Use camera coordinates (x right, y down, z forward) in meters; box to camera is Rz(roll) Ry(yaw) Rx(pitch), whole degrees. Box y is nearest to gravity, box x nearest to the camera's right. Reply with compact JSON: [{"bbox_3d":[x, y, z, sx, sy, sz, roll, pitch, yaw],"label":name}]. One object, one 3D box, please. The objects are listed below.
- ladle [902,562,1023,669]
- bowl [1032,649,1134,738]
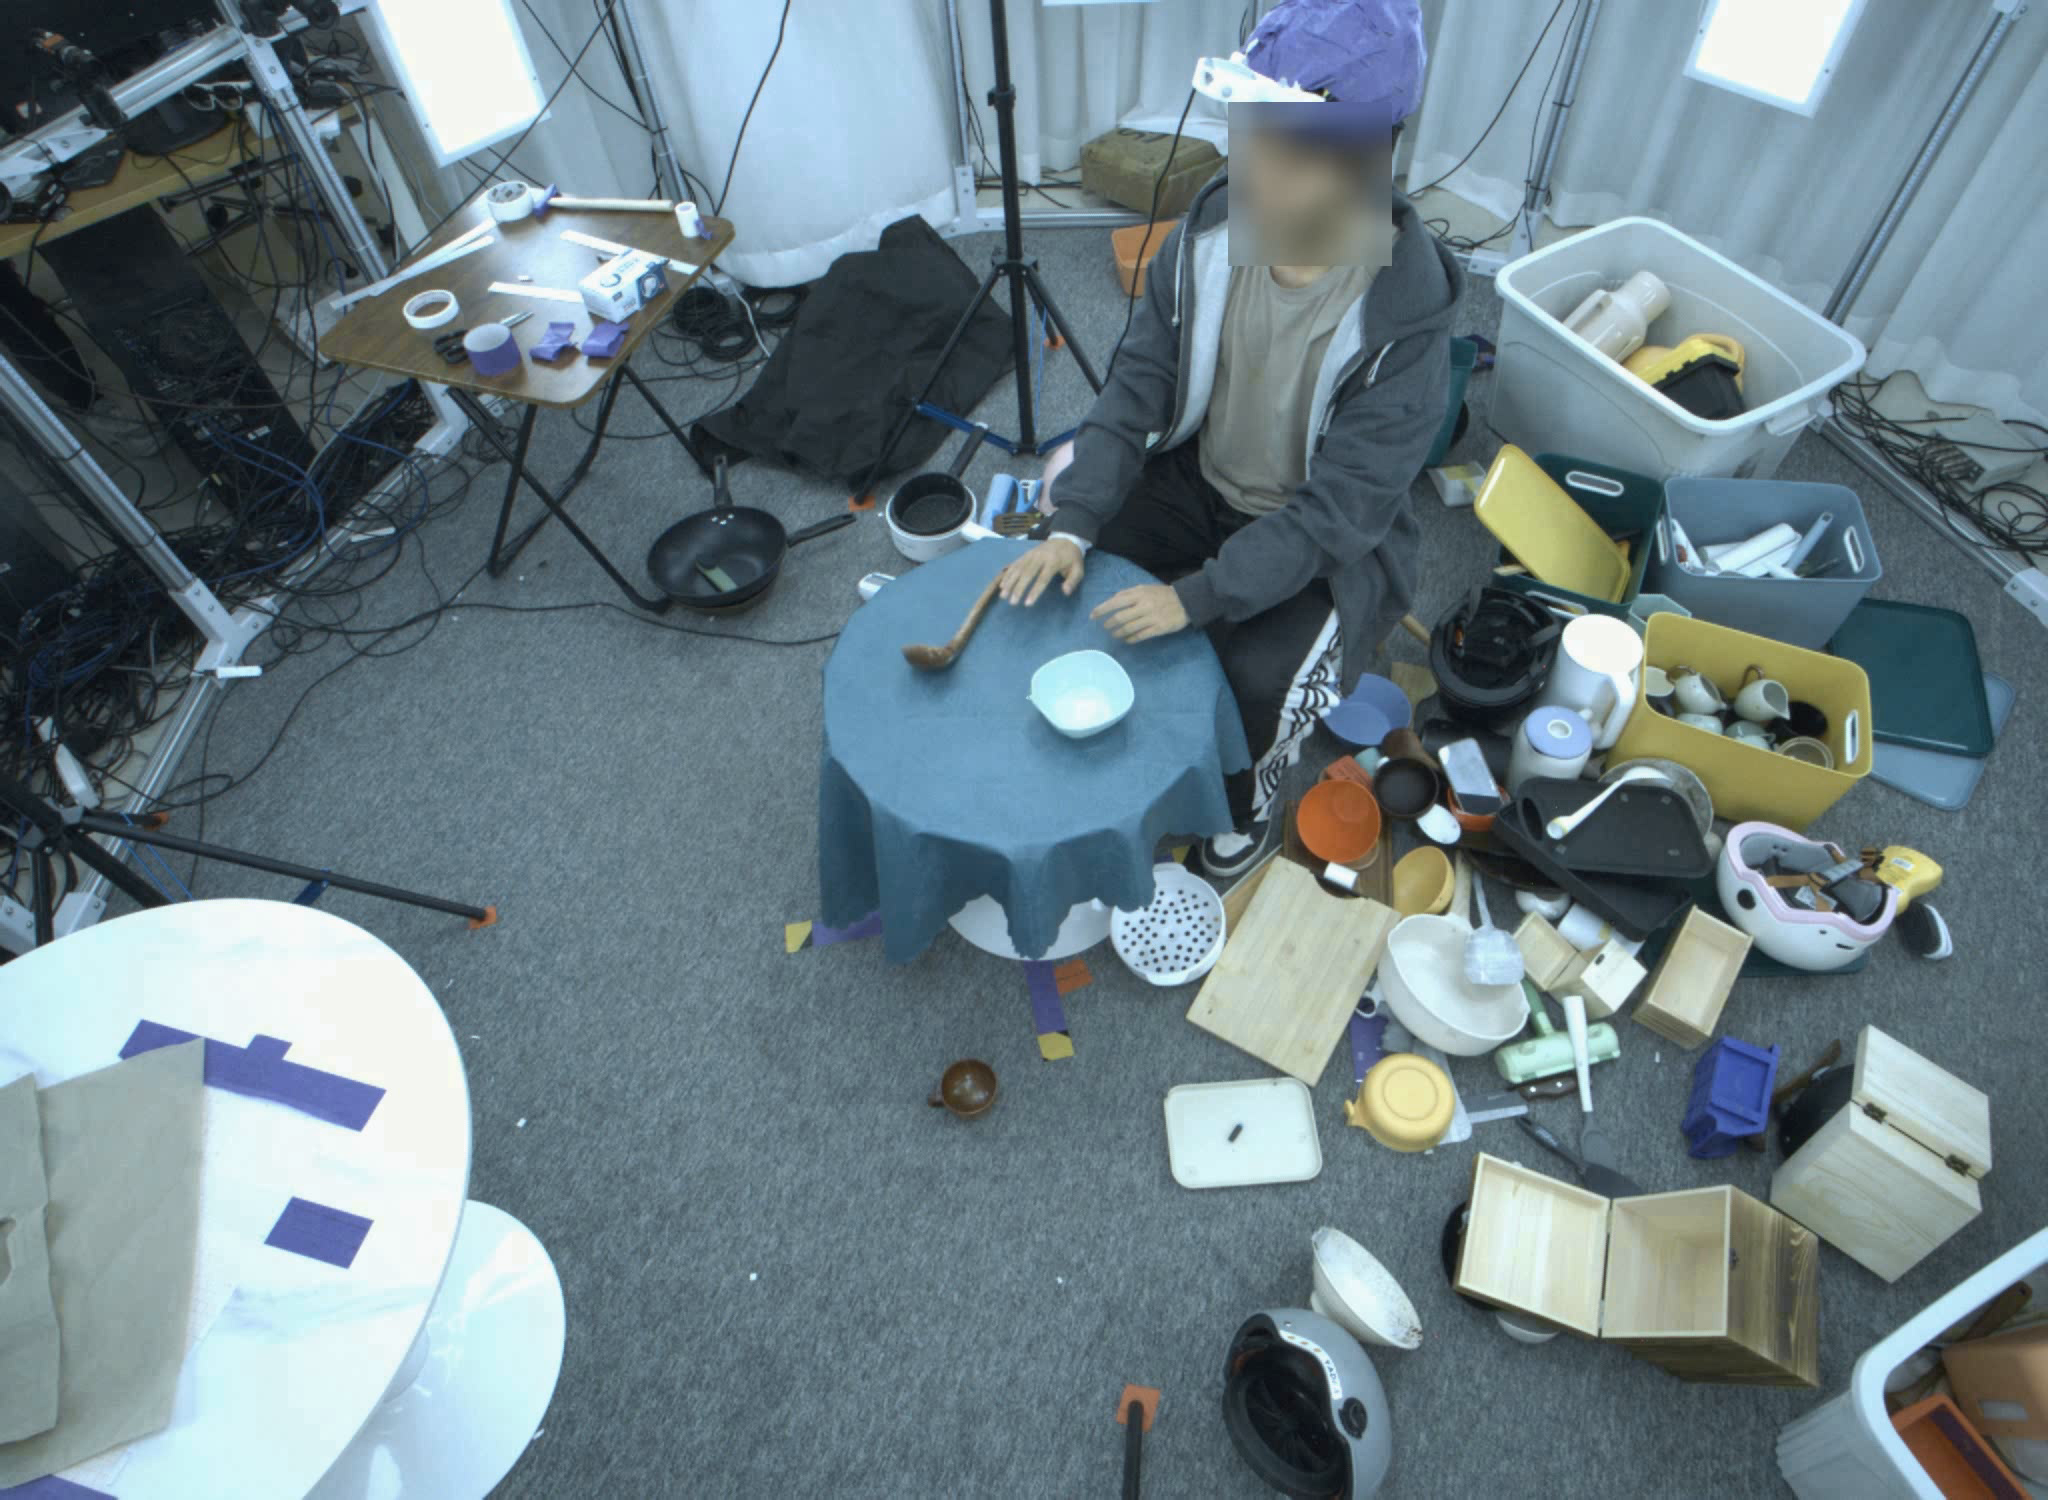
[{"bbox_3d":[-0.094,-0.223,1.905,0.080,0.078,0.274,6,52,40],"label":"ladle"},{"bbox_3d":[0.088,-0.073,1.803,0.151,0.059,0.150,-2,56,4],"label":"bowl"}]
